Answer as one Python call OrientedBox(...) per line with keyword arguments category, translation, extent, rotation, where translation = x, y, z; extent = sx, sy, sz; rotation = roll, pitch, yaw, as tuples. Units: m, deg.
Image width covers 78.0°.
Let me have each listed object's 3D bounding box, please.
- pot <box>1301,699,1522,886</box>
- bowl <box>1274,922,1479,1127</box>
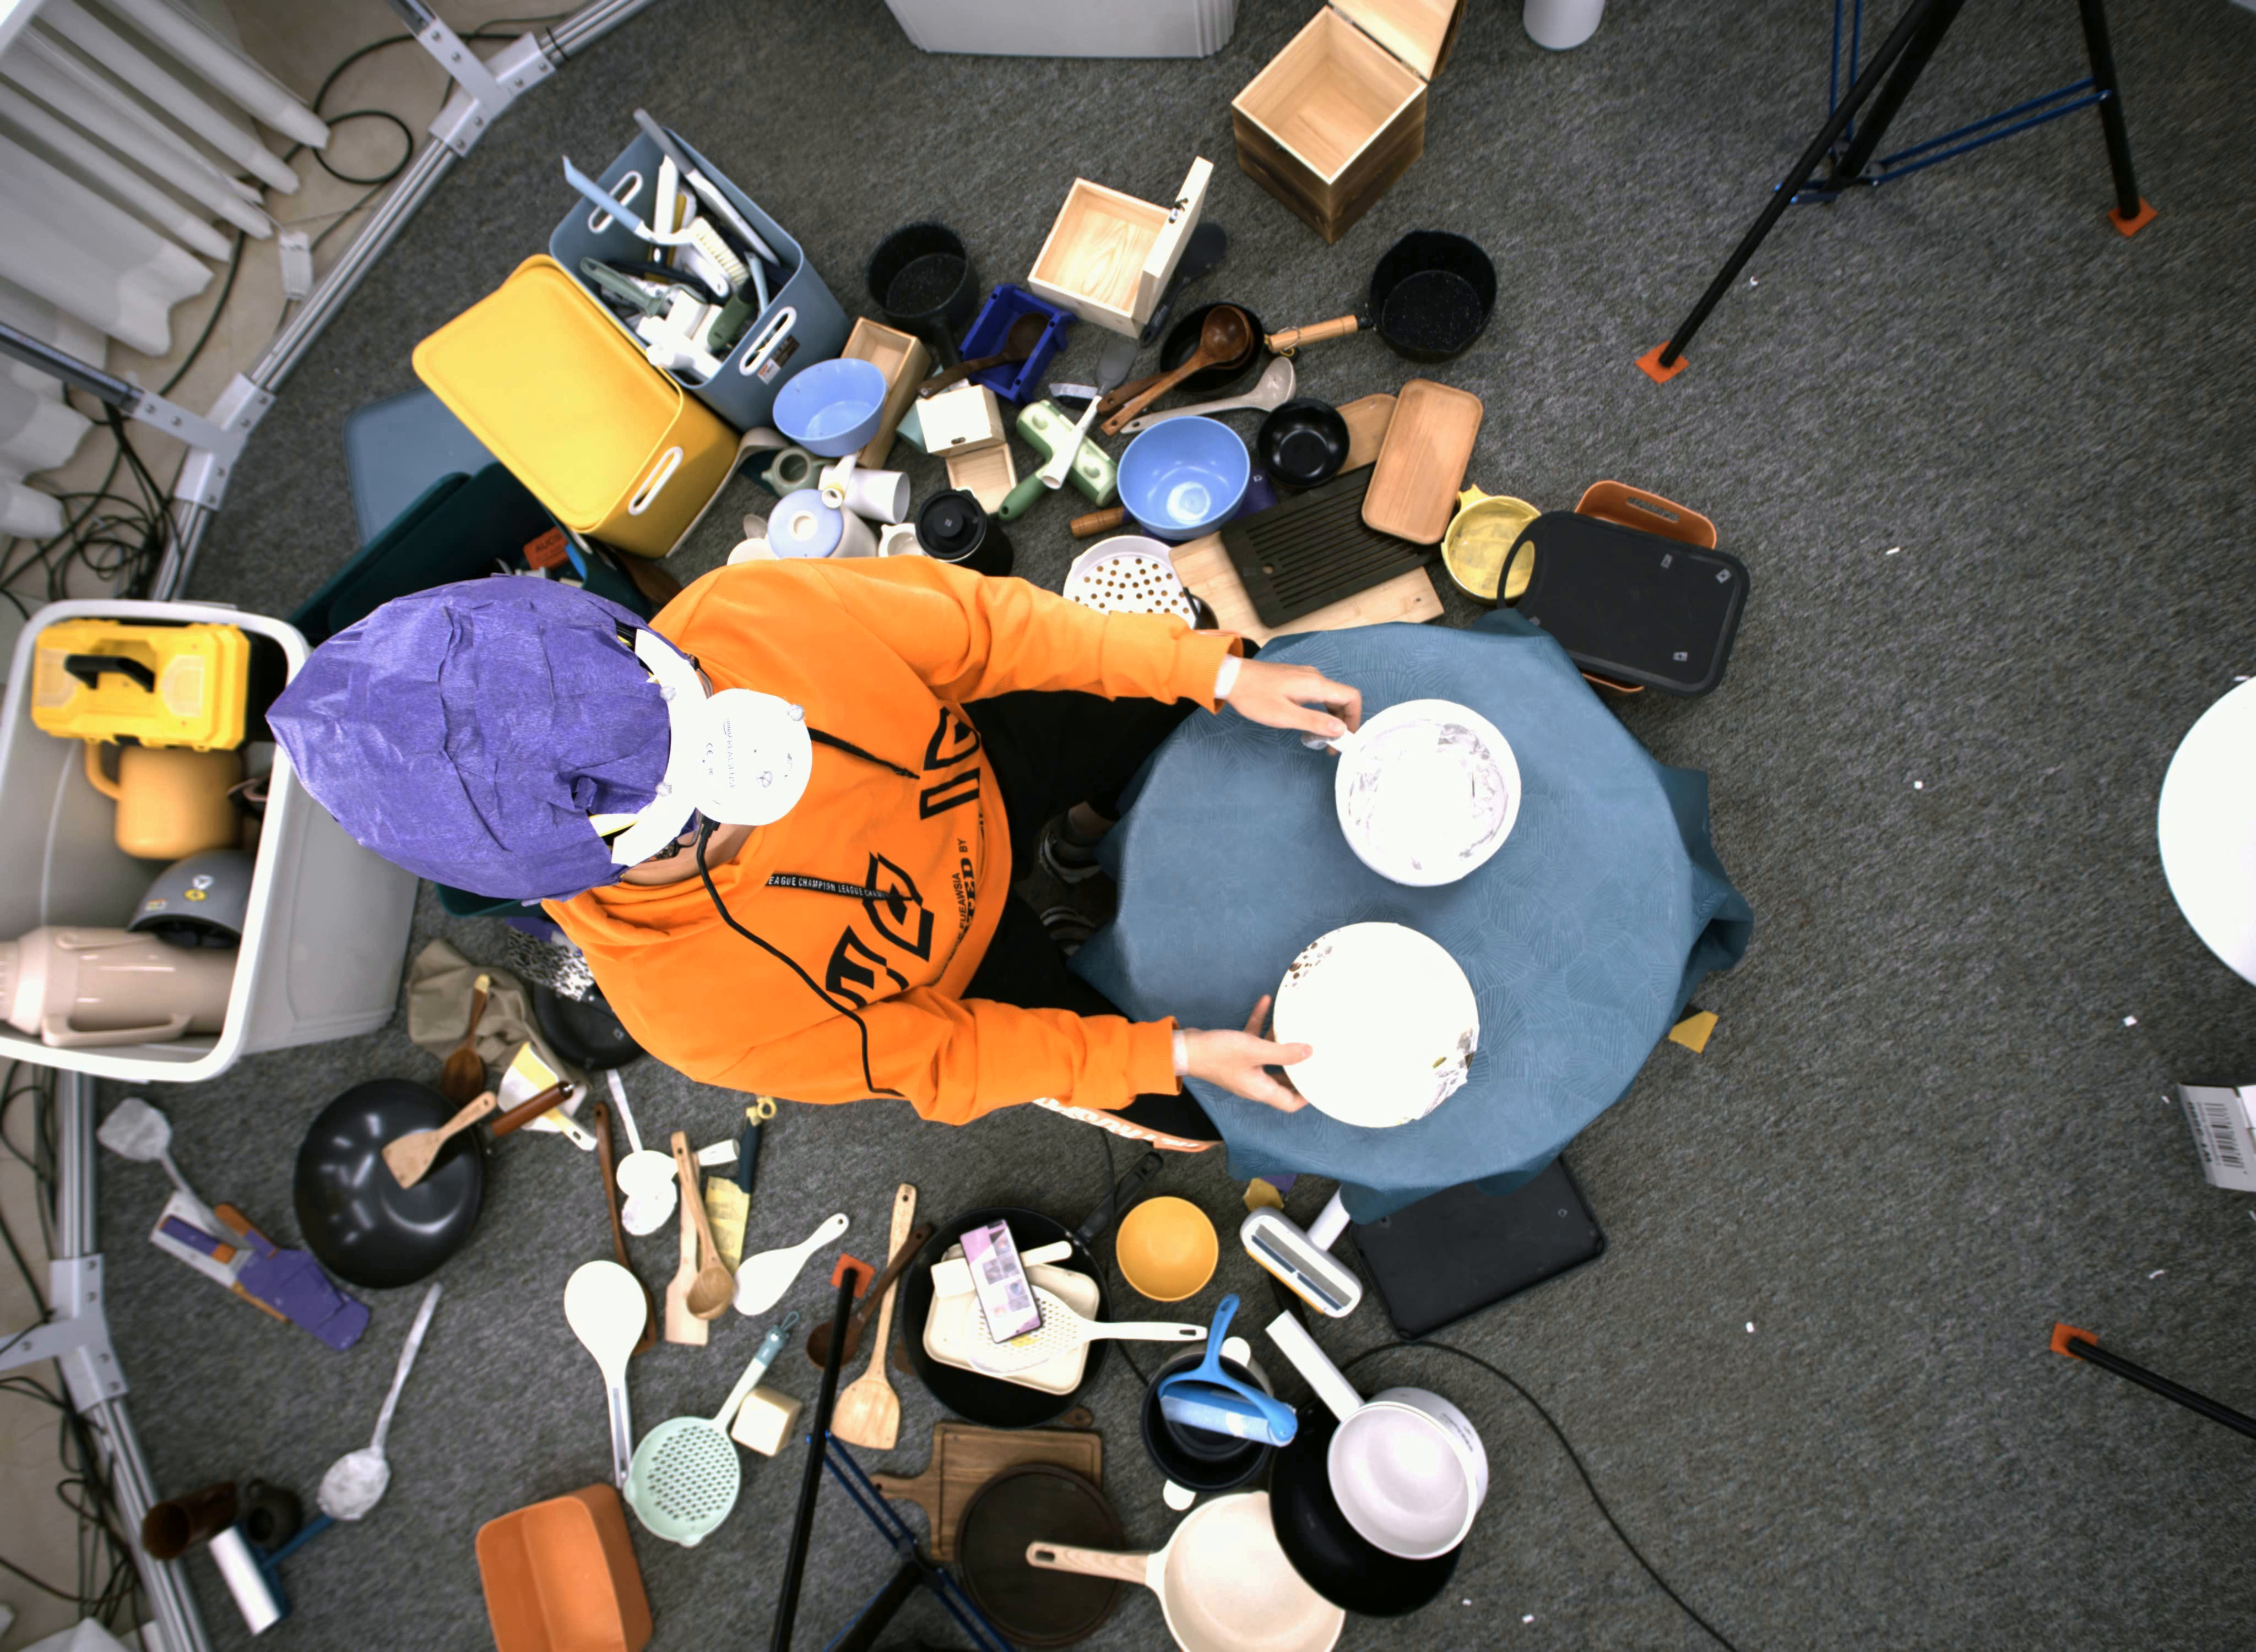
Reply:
OrientedBox(category="pot", translation=(0.277, -0.045, 1.395), extent=(0.233, 0.137, 0.179), rotation=(33, 91, 10))
OrientedBox(category="bowl", translation=(0.255, 0.200, 1.418), extent=(0.205, 0.078, 0.203), rotation=(-1, 86, 13))
